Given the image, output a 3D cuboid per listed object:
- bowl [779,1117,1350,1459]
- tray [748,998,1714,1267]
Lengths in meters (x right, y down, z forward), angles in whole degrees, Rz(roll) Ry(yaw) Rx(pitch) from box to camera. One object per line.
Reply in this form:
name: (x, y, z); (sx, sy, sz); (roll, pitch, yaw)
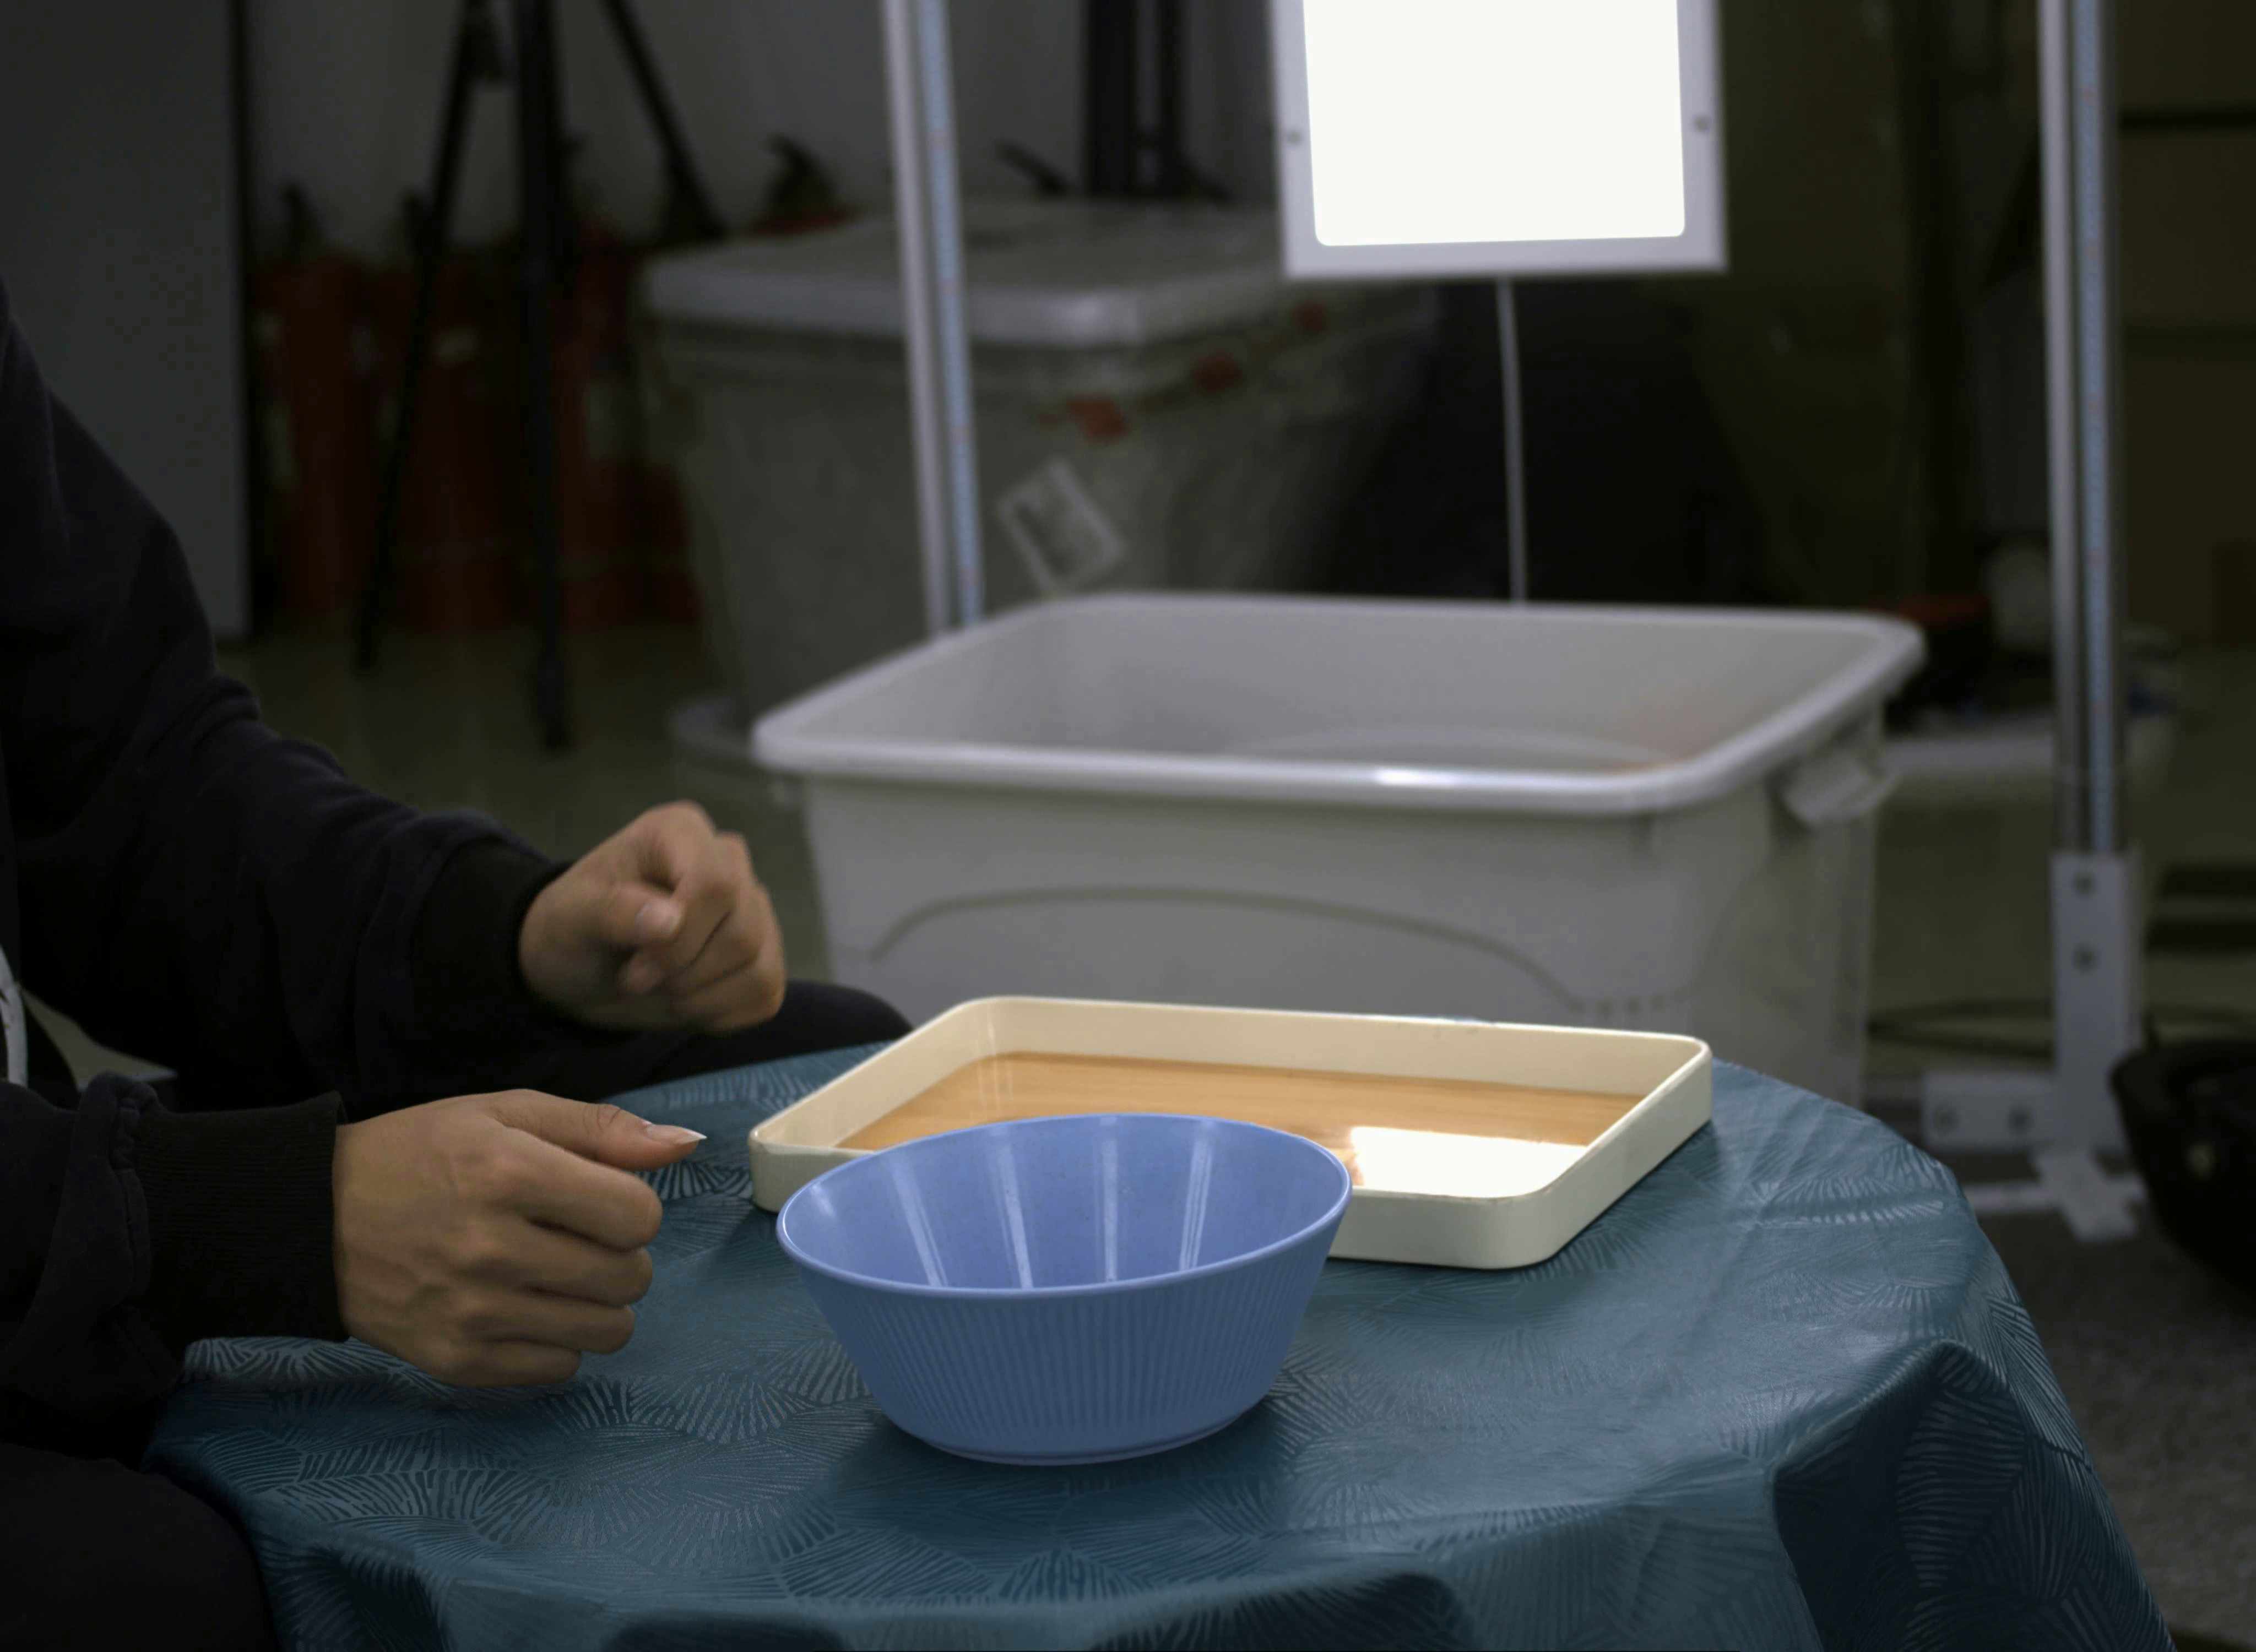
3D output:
bowl: (-0.018, 0.144, 1.683); (0.175, 0.070, 0.176); (-4, 13, 0)
tray: (0.037, 0.105, 1.919); (0.305, 0.027, 0.187); (2, 15, 27)
